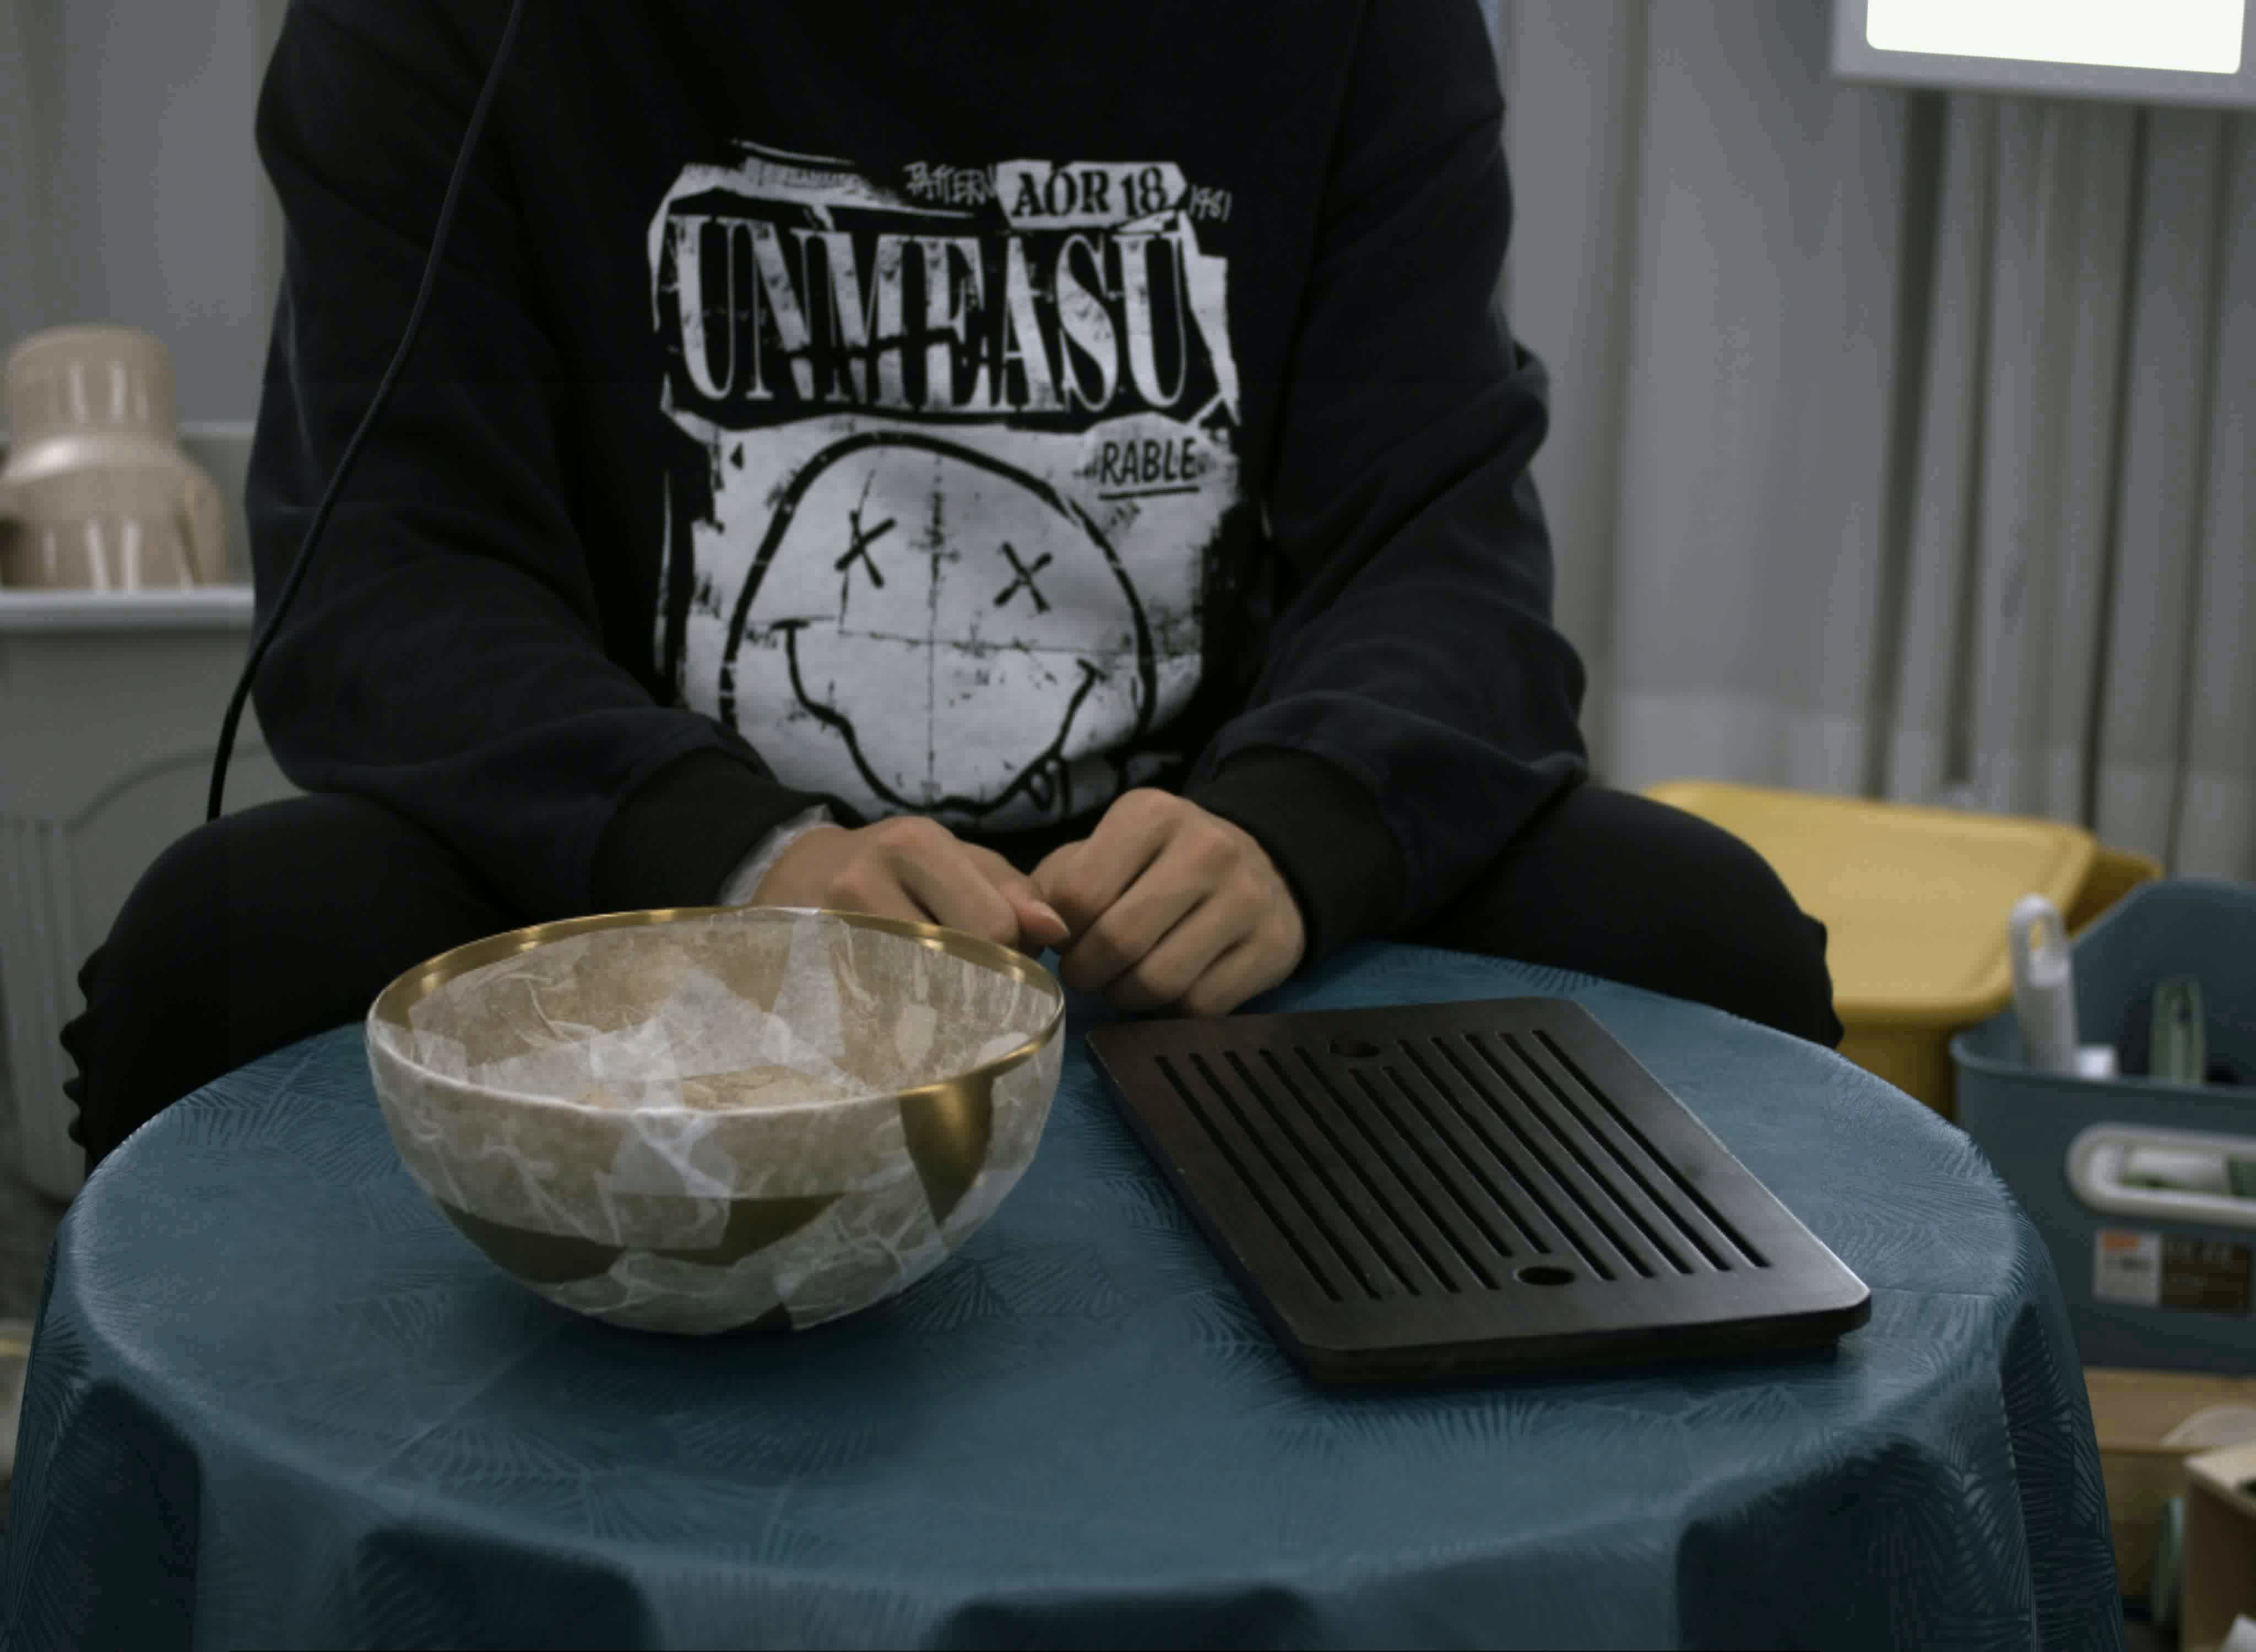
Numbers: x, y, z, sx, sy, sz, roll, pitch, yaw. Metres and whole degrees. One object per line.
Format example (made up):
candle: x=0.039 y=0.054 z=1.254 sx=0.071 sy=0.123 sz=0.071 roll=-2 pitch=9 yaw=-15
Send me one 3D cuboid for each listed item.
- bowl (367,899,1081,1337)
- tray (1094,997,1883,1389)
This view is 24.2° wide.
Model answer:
bowl: x=-0.114 y=0.092 z=1.524 sx=0.214 sy=0.095 sz=0.213 roll=0 pitch=16 yaw=1
tray: x=0.102 y=0.109 z=1.613 sx=0.170 sy=0.019 sz=0.303 roll=-3 pitch=16 yaw=-12
